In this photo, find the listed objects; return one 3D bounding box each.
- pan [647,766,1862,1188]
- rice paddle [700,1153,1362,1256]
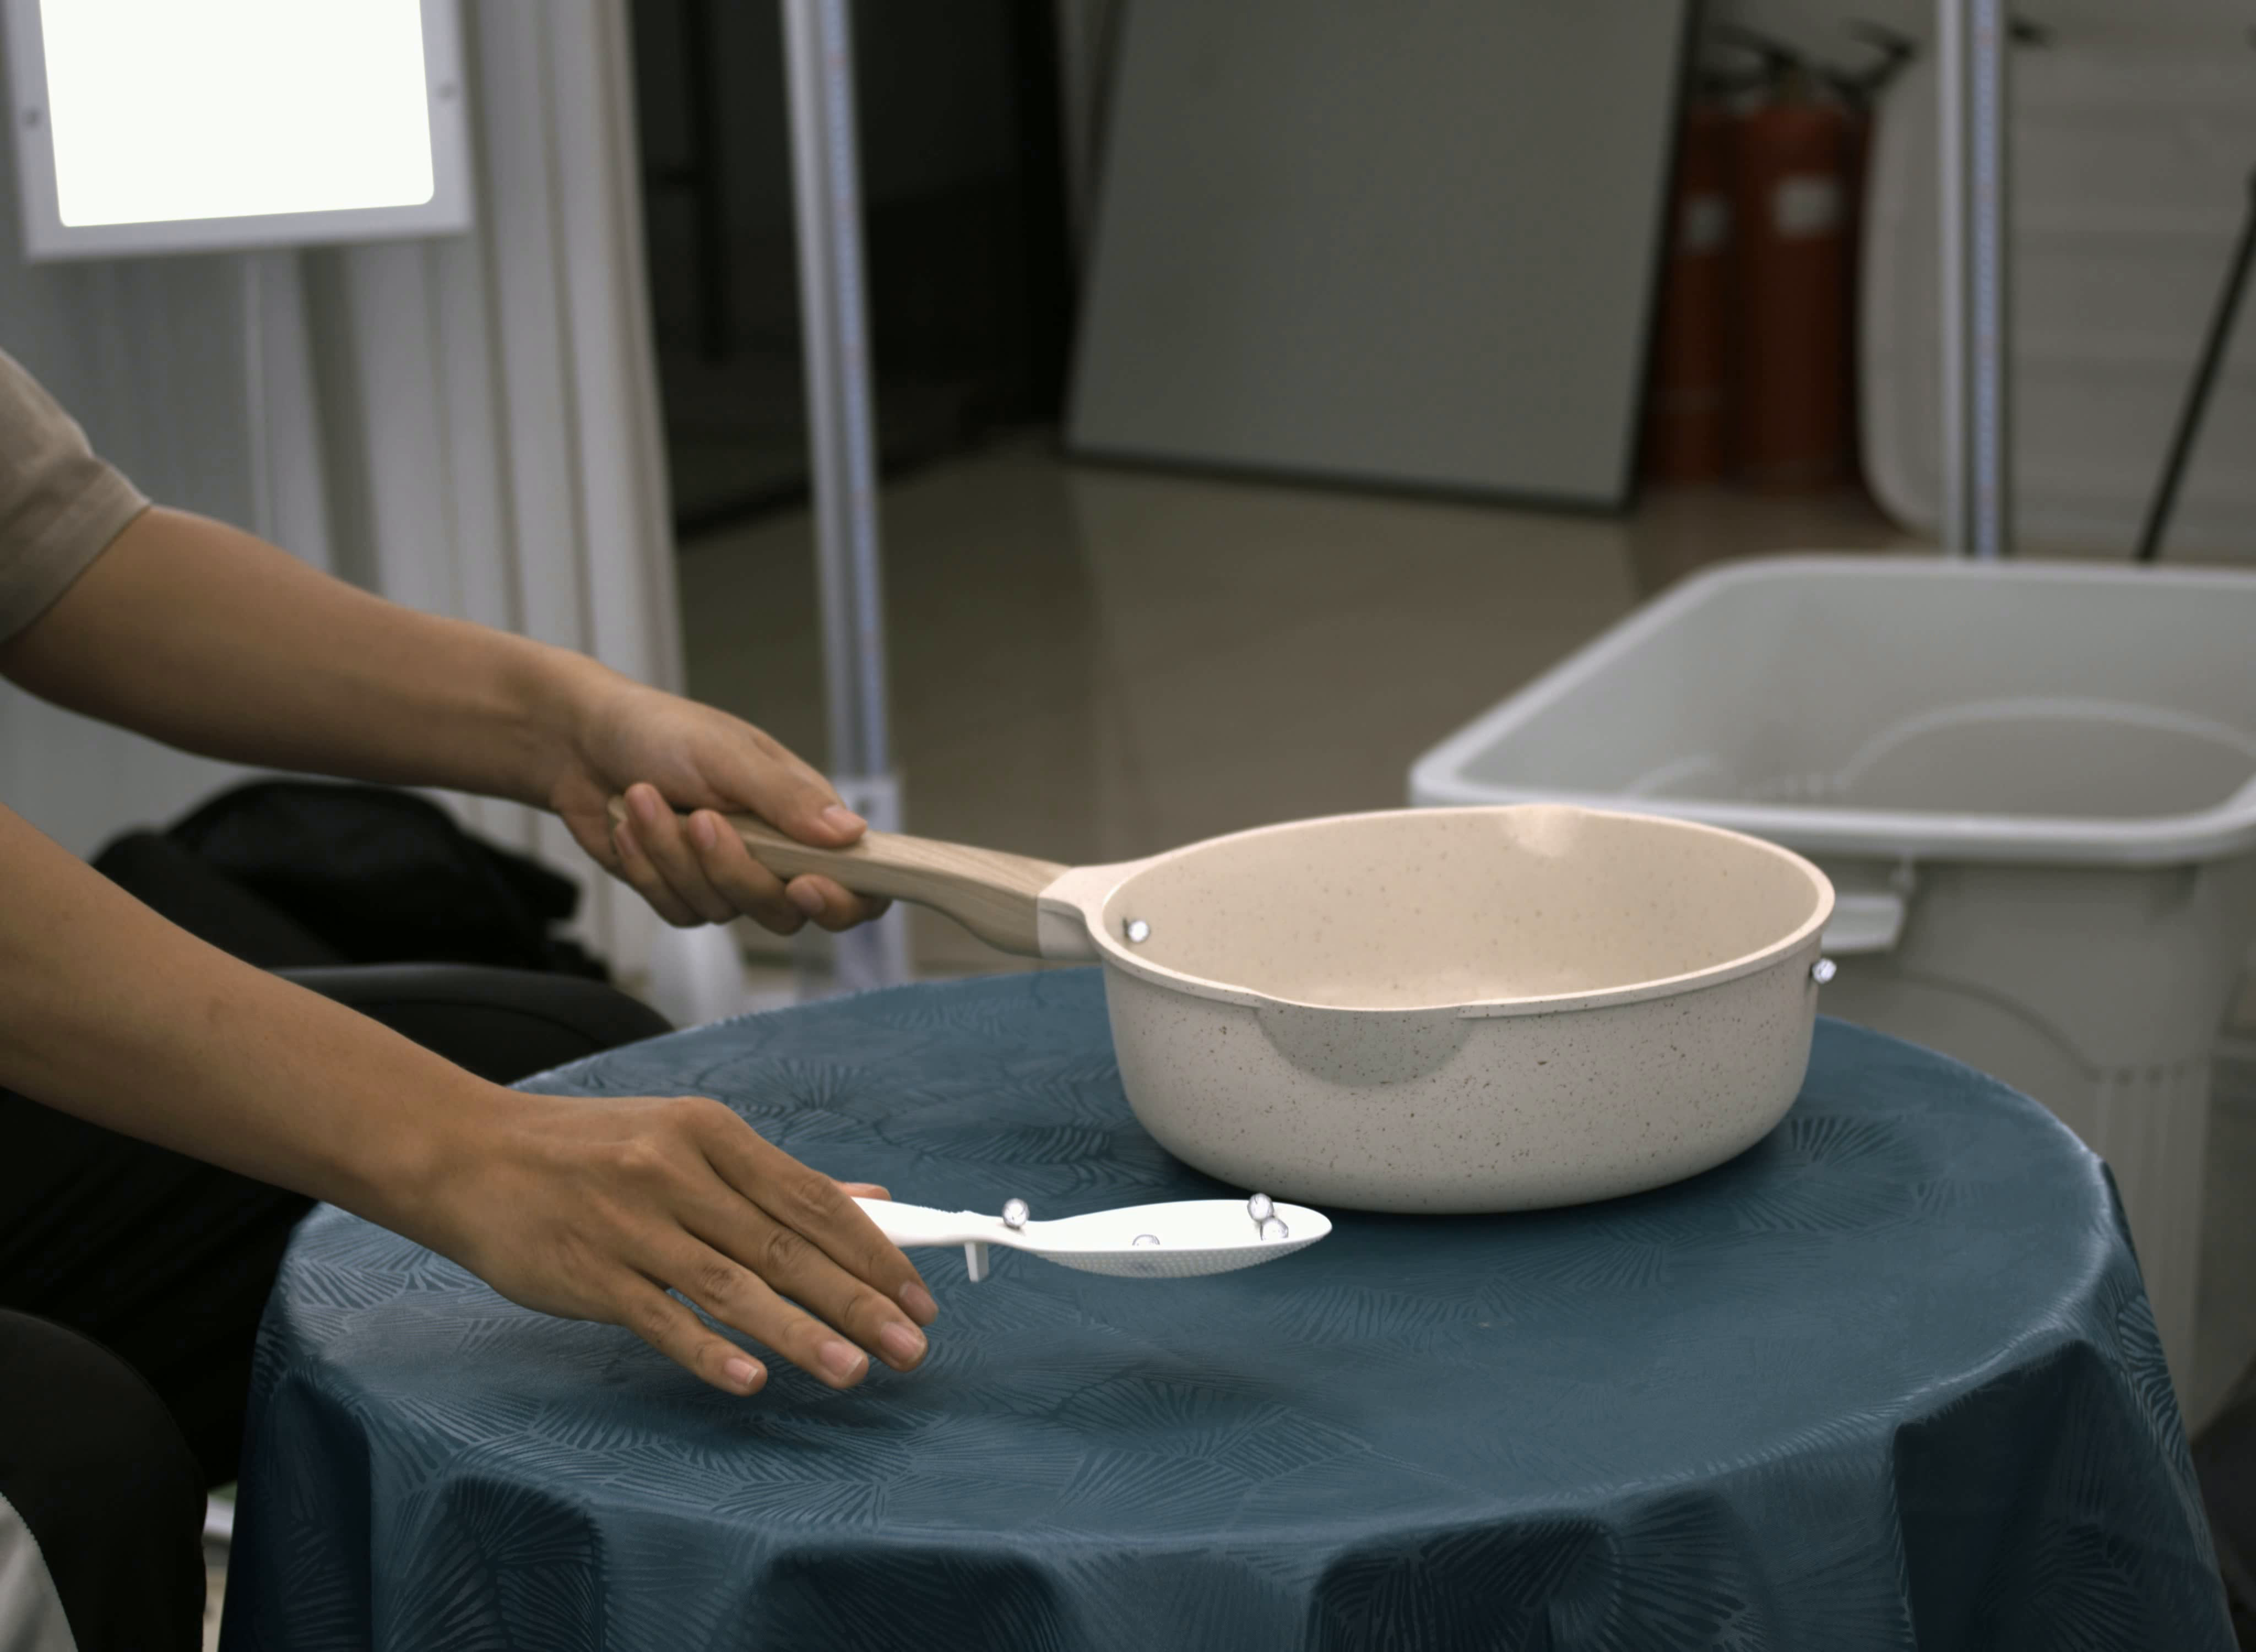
[{"bbox_3d":[0.039,0.045,1.856,0.434,0.103,0.261,1,16,20],"label":"pan"},{"bbox_3d":[-0.029,0.108,1.613,0.204,0.030,0.068,-4,7,17],"label":"rice paddle"}]
